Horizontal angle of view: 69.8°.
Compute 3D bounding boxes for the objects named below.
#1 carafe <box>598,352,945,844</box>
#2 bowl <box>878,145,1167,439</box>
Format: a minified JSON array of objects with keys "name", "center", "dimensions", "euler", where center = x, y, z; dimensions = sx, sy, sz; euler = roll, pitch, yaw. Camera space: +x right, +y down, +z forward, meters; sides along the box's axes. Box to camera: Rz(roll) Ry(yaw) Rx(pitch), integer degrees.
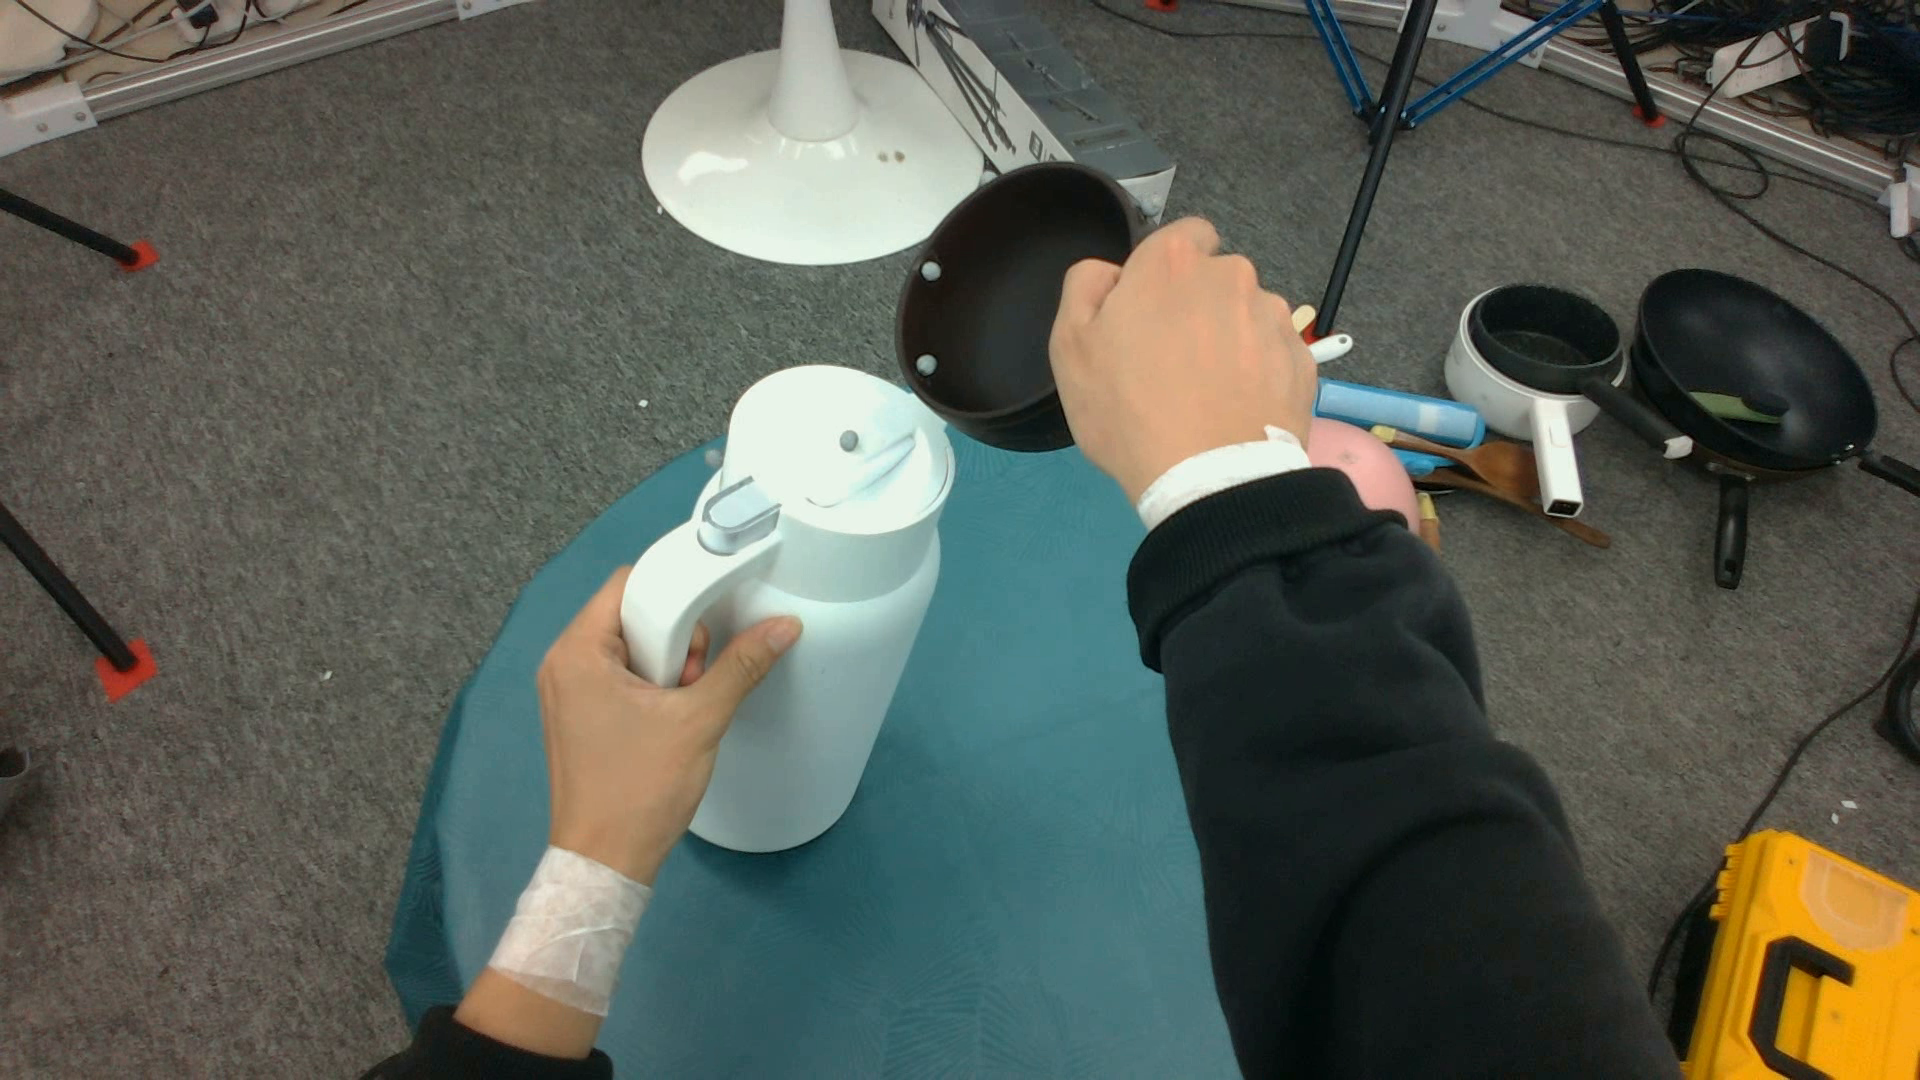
[{"name":"carafe","center":[-0.098,0.046,0.669],"dimensions":[0.124,0.267,0.173],"euler":[41,49,15]},{"name":"bowl","center":[0.032,-0.096,0.570],"dimensions":[0.117,0.070,0.118],"euler":[-14,65,31]}]
